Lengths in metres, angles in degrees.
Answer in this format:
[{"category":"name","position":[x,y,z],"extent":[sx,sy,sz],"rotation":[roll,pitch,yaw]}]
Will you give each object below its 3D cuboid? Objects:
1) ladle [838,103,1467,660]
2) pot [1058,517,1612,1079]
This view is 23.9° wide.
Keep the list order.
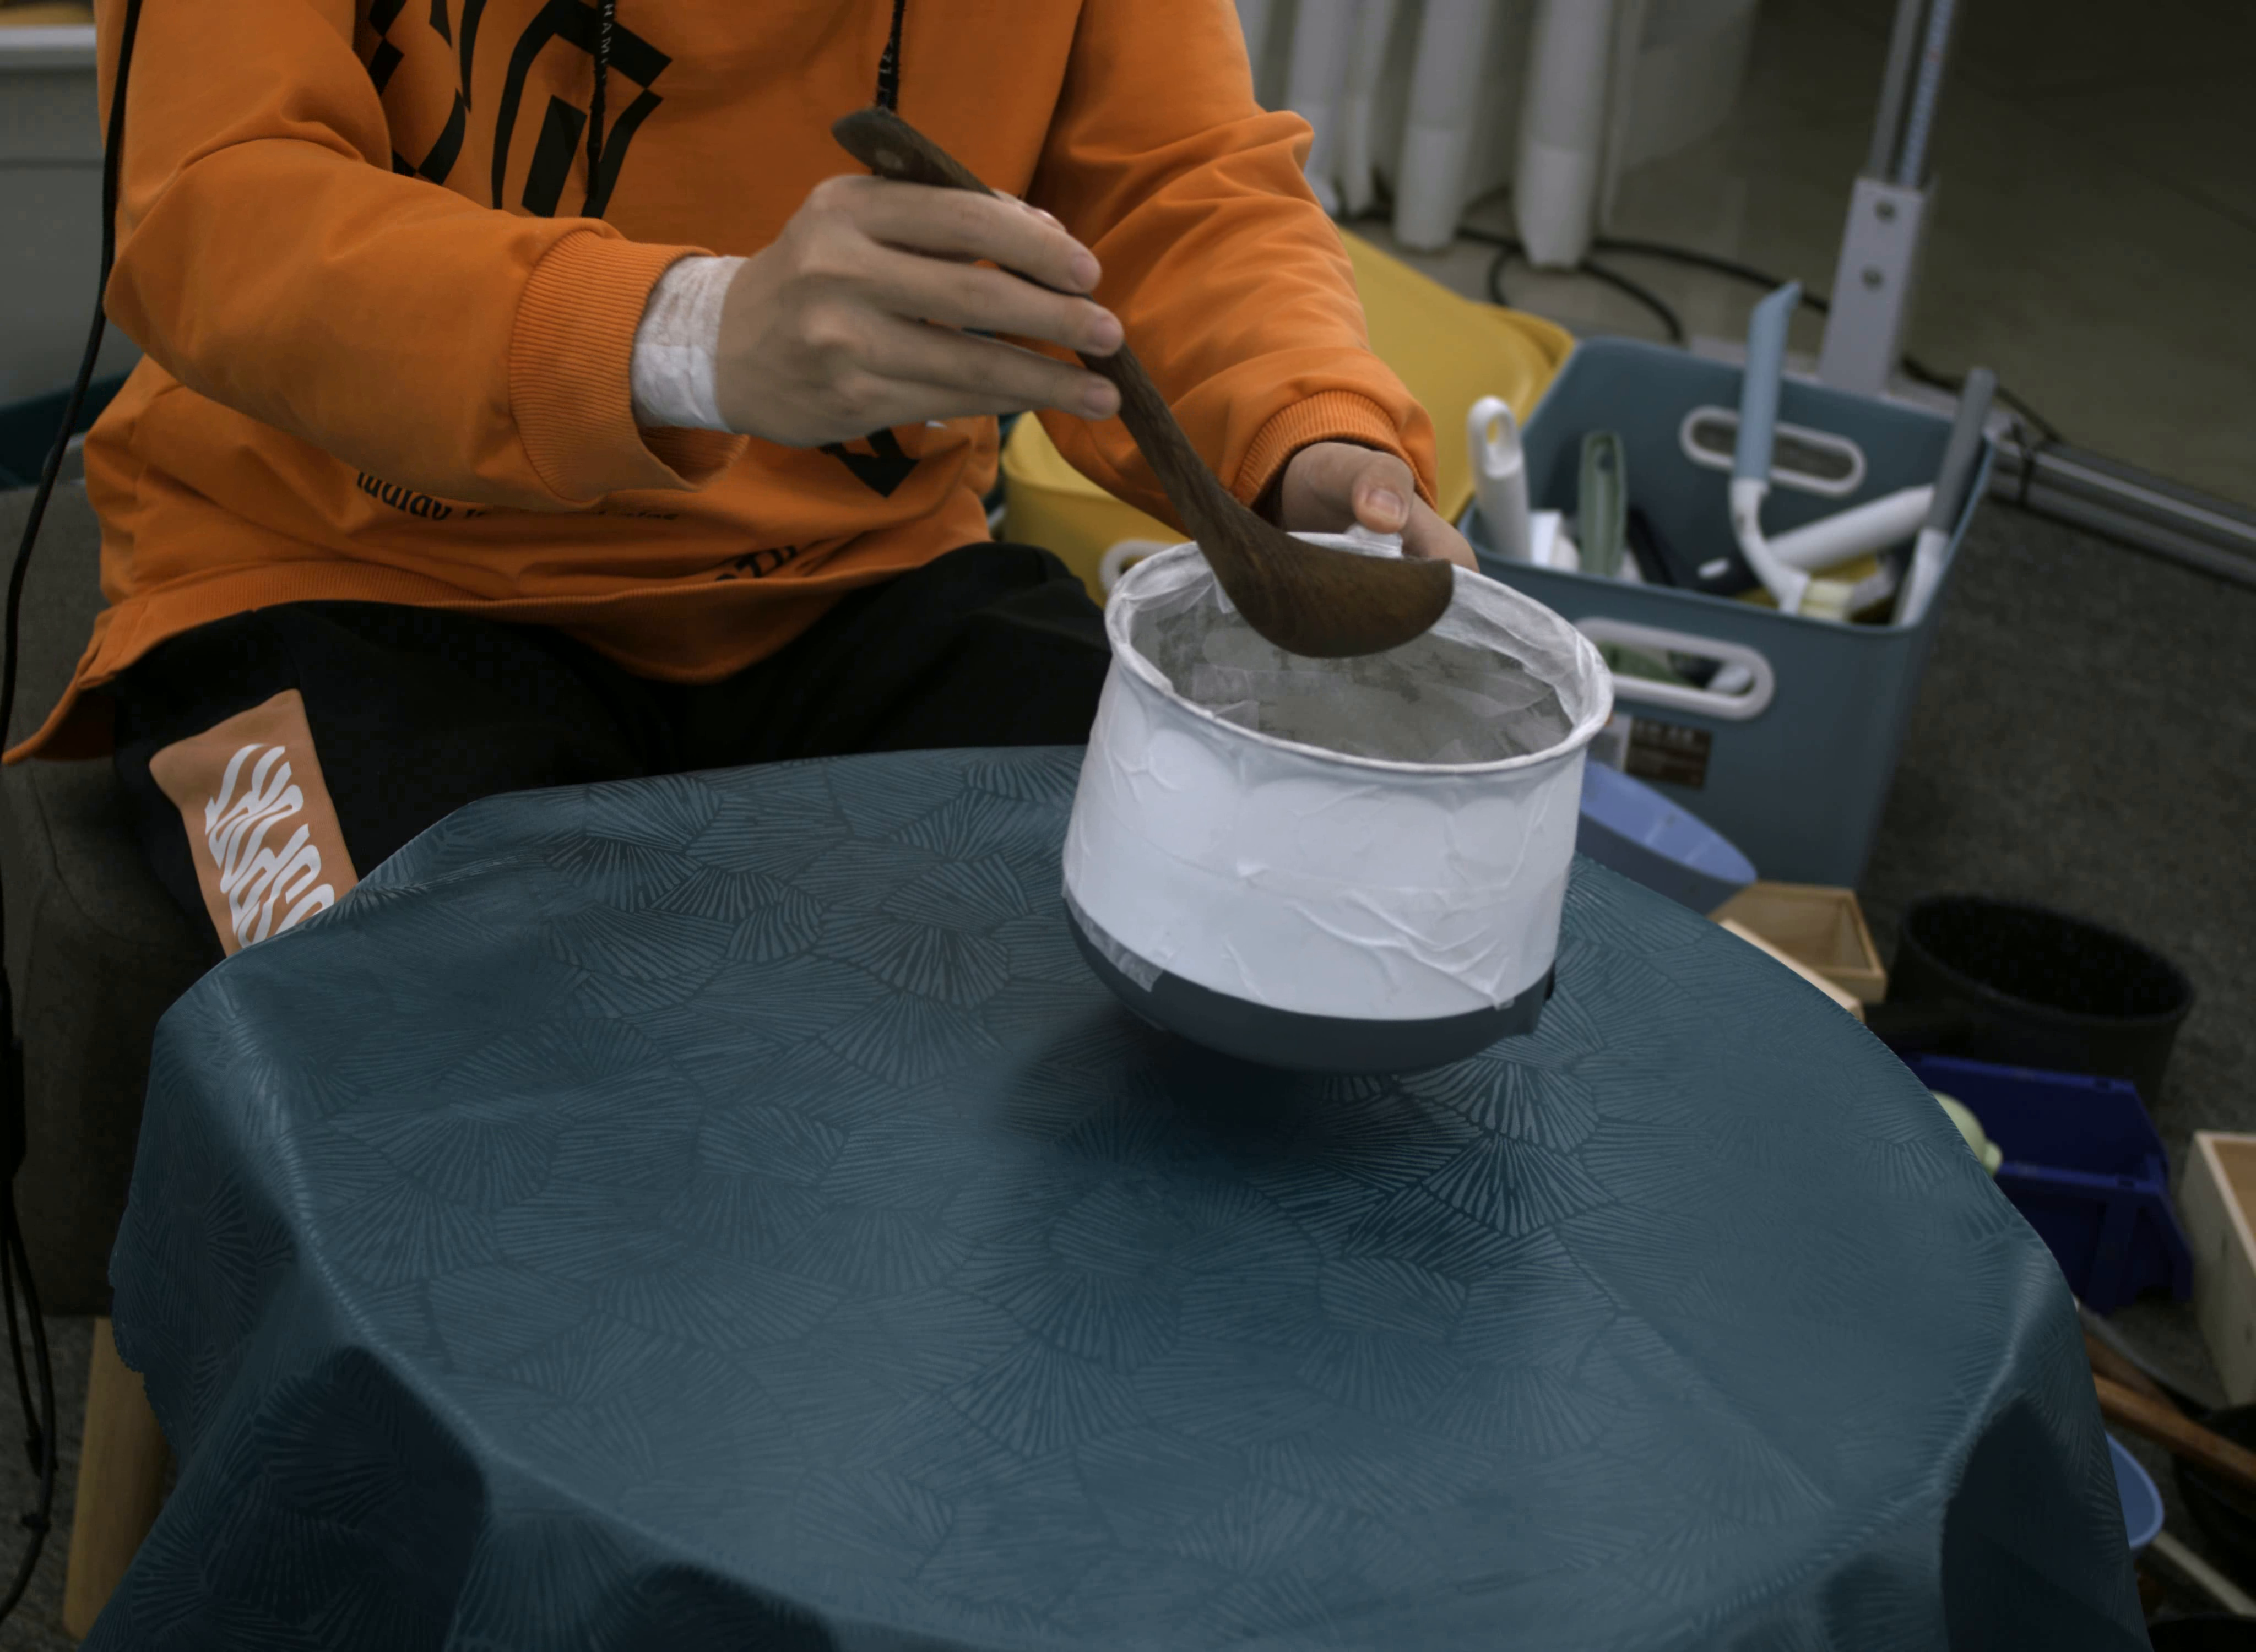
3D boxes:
[{"category":"ladle","position":[0.011,-0.159,1.817],"extent":[0.076,0.273,0.071],"rotation":[-22,24,49]},{"category":"pot","position":[0.070,-0.018,1.866],"extent":[0.178,0.136,0.235],"rotation":[10,27,0]}]
